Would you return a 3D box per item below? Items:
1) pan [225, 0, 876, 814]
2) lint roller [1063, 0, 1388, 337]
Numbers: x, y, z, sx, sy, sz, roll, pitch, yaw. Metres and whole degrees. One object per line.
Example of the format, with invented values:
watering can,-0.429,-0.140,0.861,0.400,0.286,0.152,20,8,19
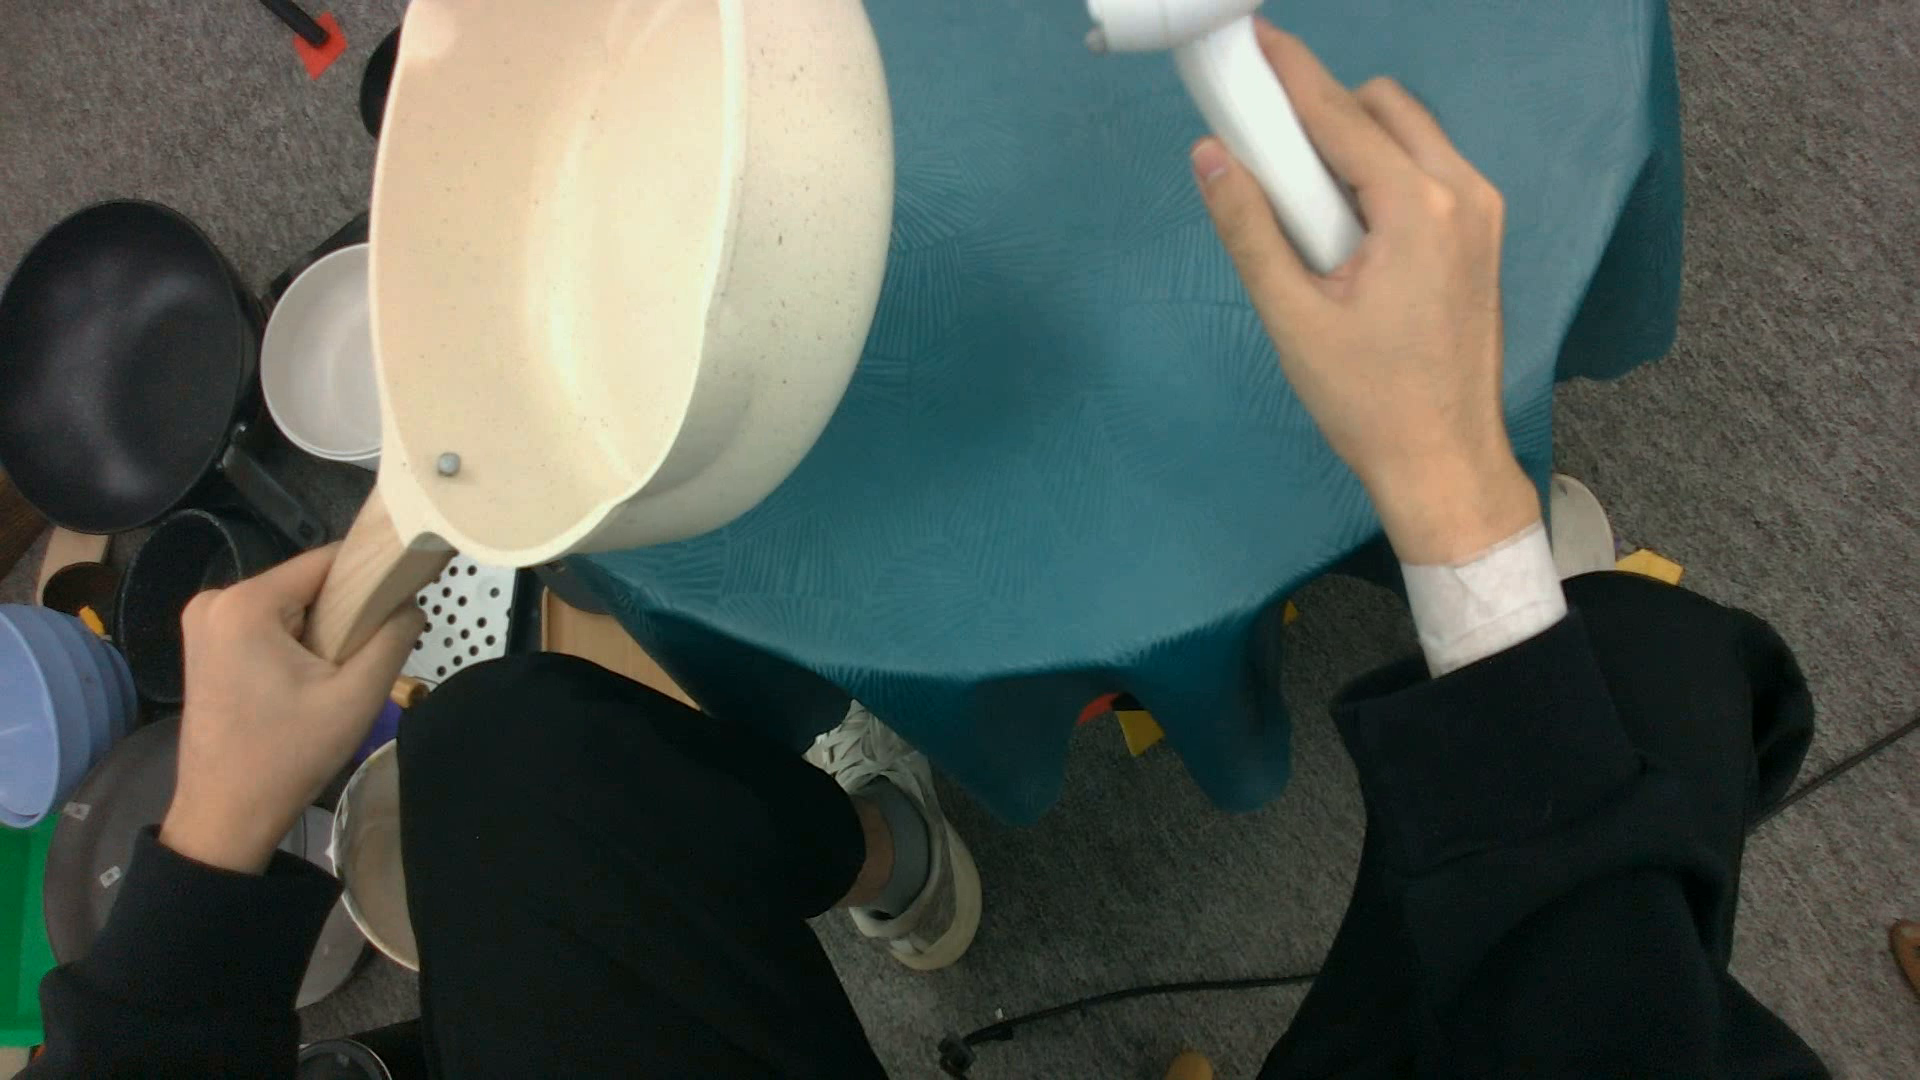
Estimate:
pan,-0.176,-0.055,0.526,0.264,0.102,0.433,50,122,31
lint roller,0.084,-0.147,0.453,0.074,0.193,0.192,-22,111,11
